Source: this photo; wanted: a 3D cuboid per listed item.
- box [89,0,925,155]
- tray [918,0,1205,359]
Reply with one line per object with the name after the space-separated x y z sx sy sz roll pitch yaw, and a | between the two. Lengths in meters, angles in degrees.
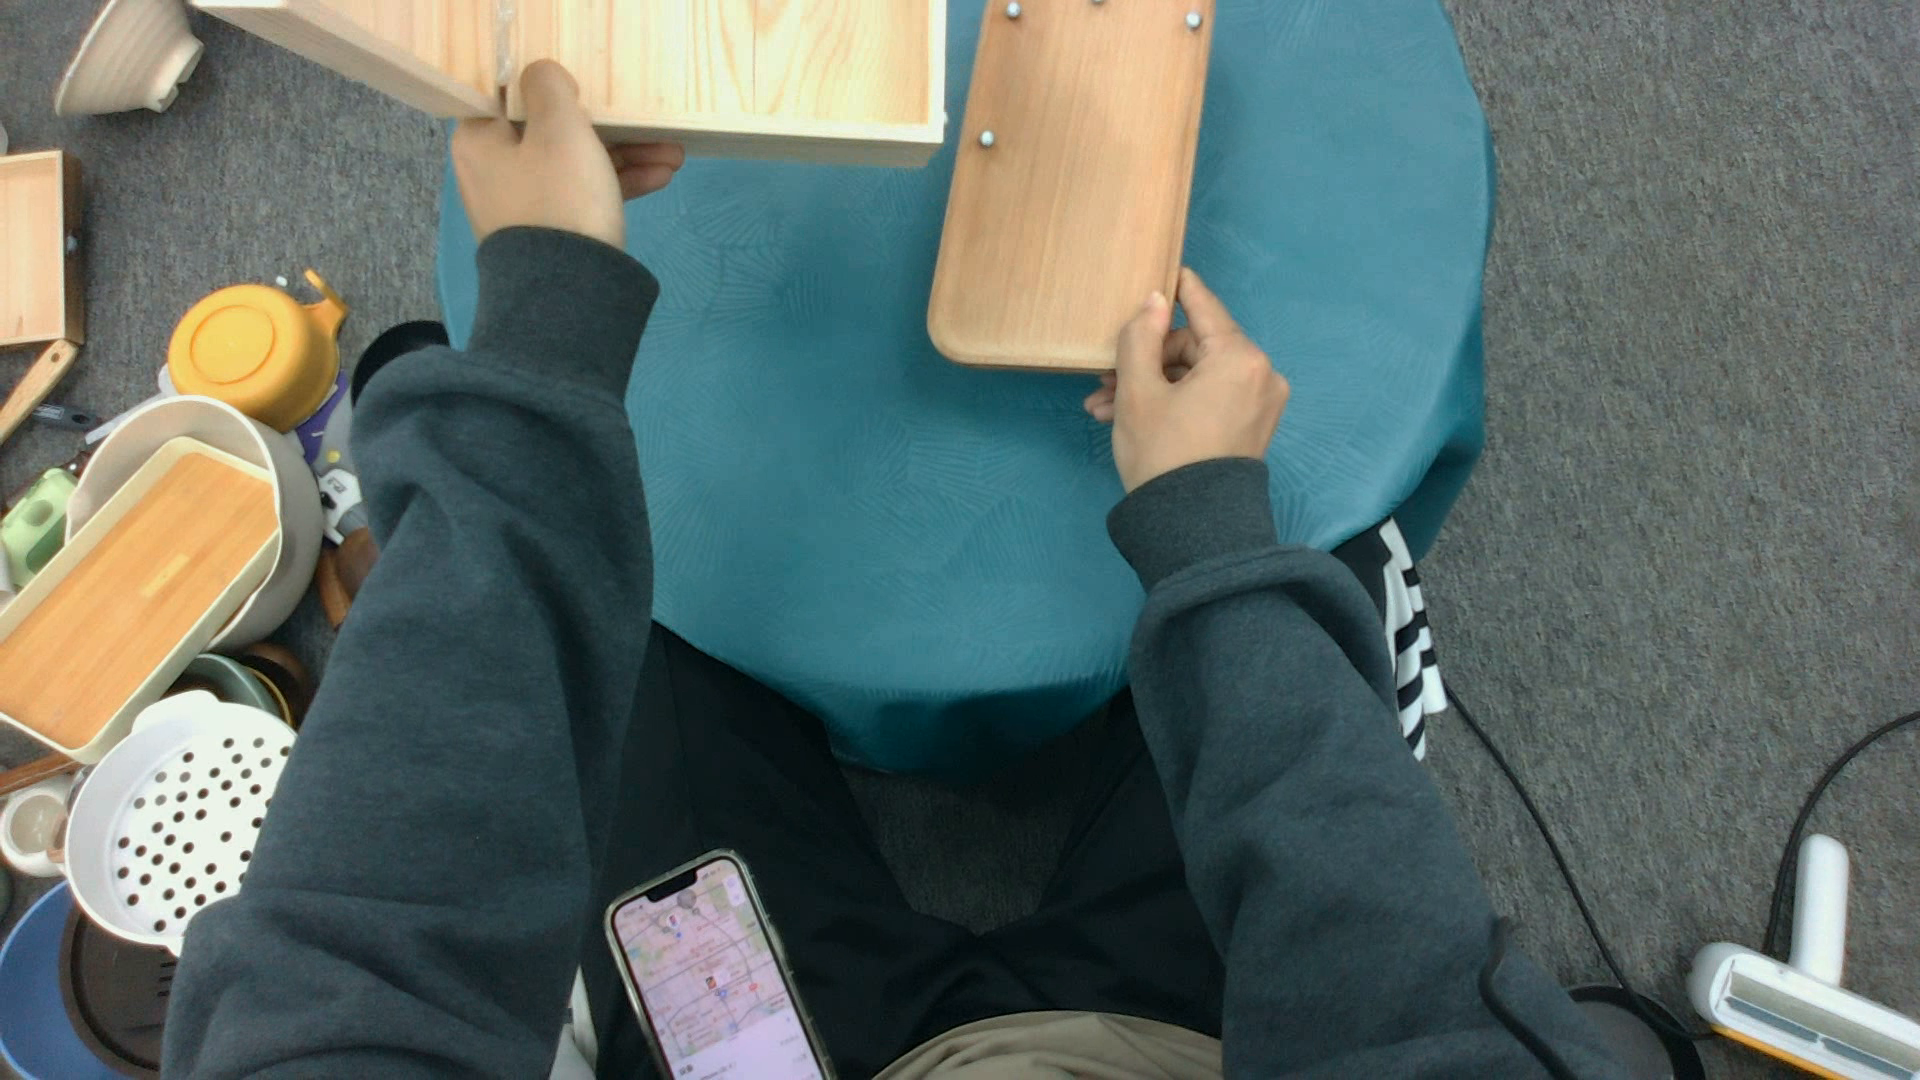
-0.135 -0.258 0.522 0.265 0.253 0.181 -1 98 -5 | box
0.056 -0.208 0.722 0.130 0.023 0.251 4 72 18 | tray
